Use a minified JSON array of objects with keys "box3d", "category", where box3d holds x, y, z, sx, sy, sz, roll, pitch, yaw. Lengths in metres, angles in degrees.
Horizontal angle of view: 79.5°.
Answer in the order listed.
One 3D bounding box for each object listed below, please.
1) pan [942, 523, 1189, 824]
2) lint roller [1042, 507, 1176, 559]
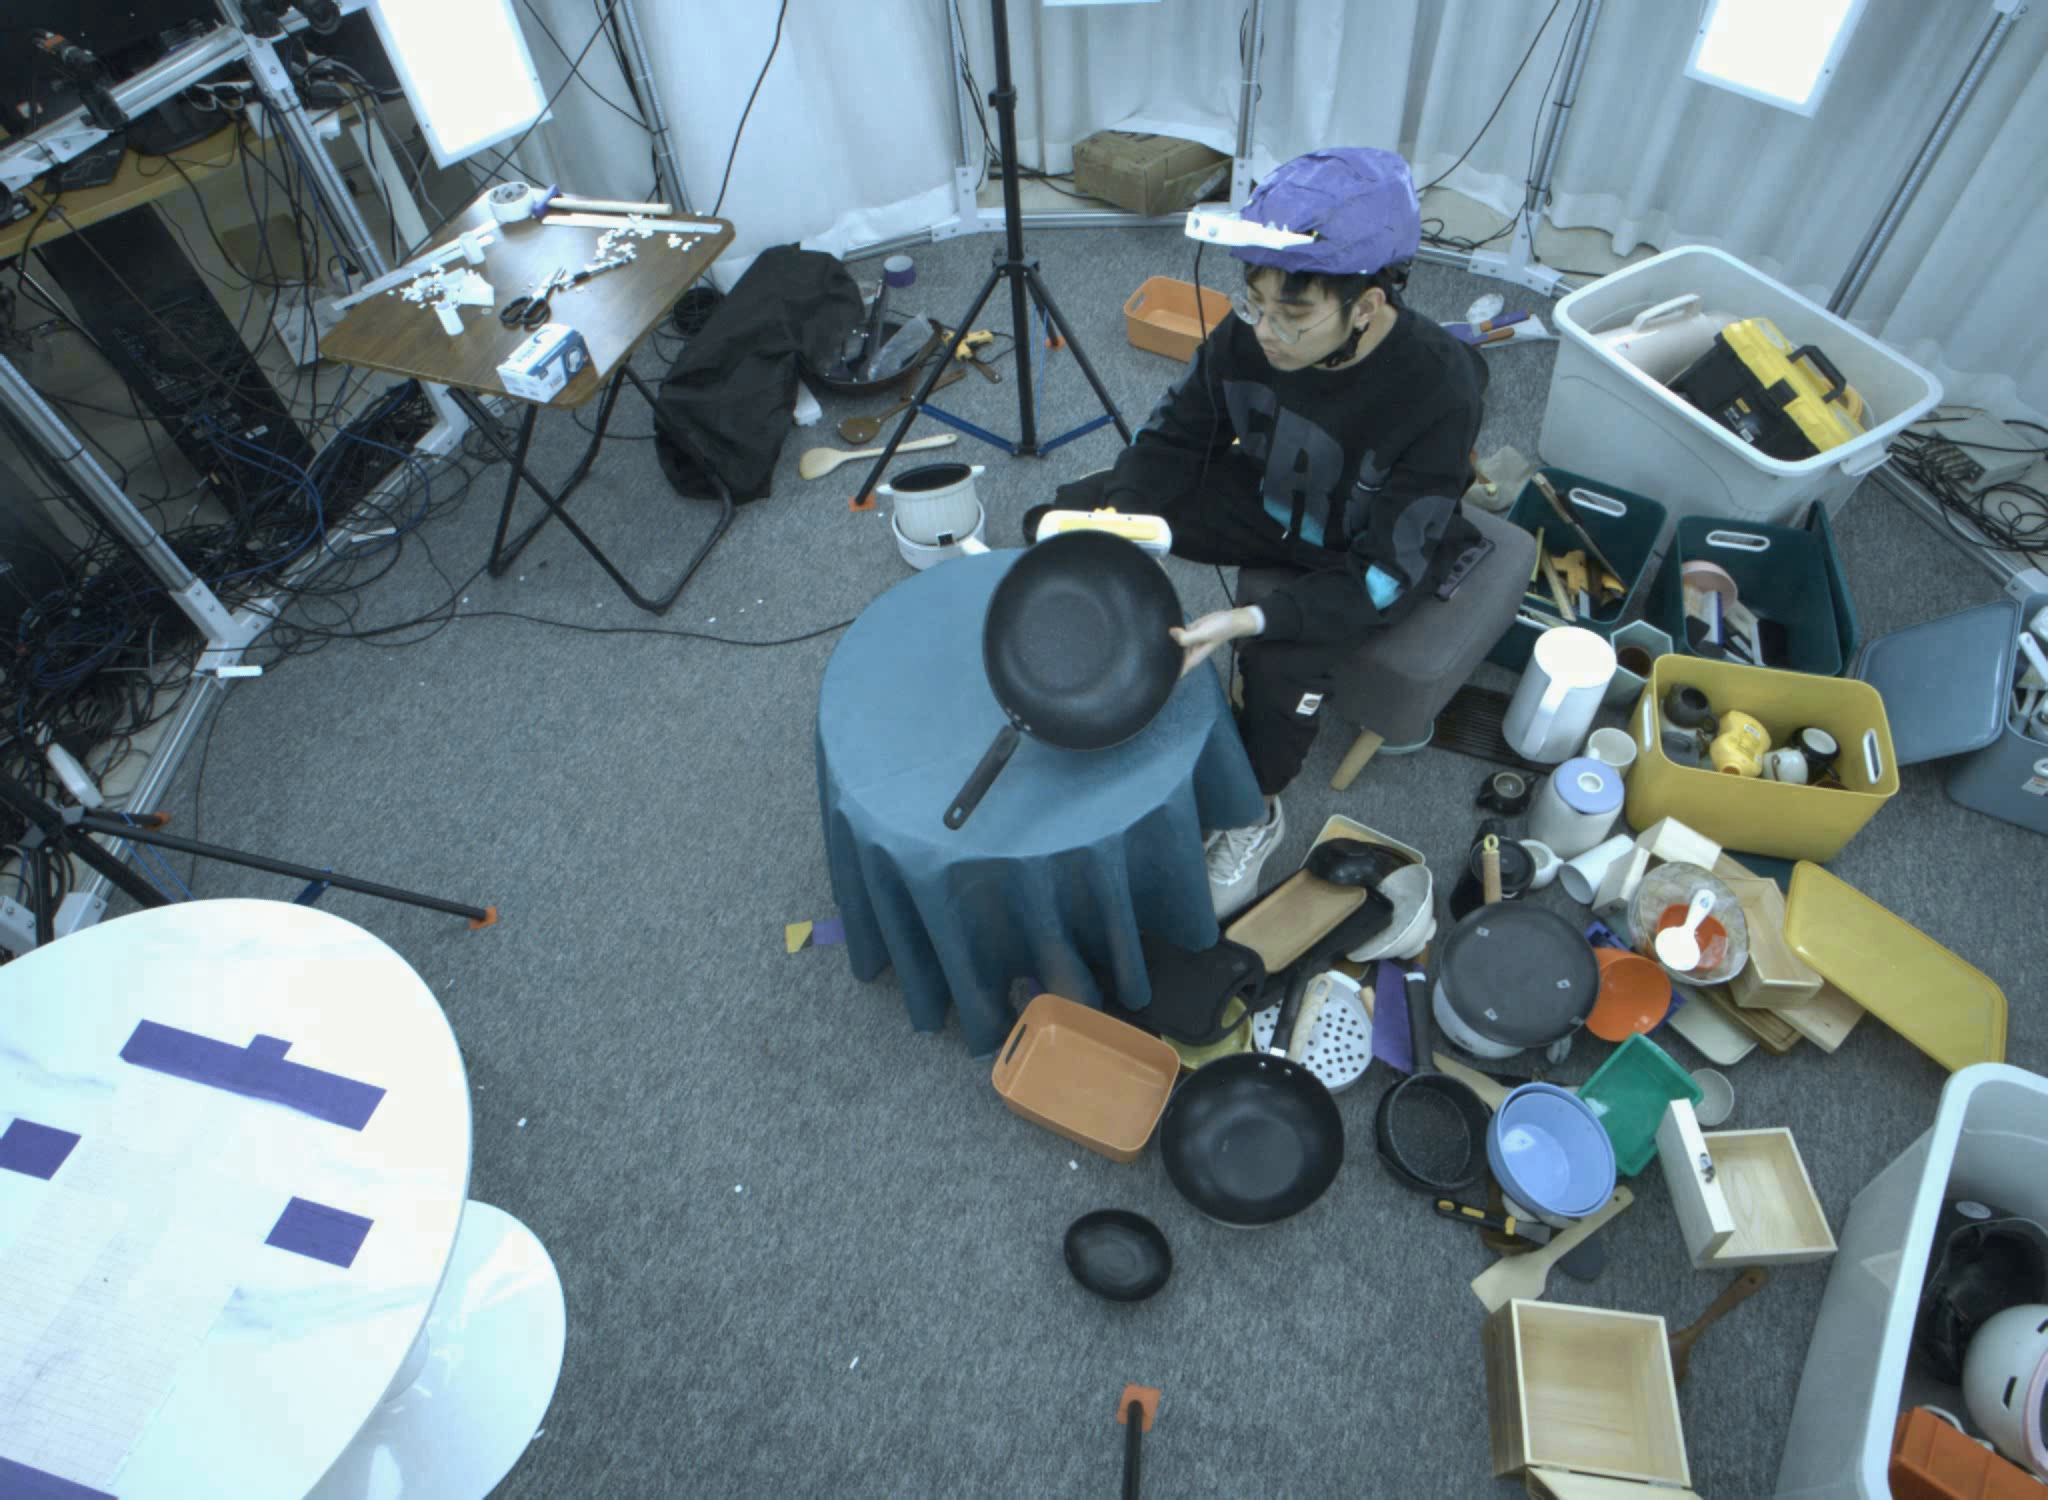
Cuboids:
[{"box3d":[0.029,-0.094,1.704,0.315,0.110,0.477,42,80,-21],"category":"pan"},{"box3d":[0.110,-0.309,1.808,0.194,0.191,0.074,-3,85,-12],"category":"lint roller"}]
